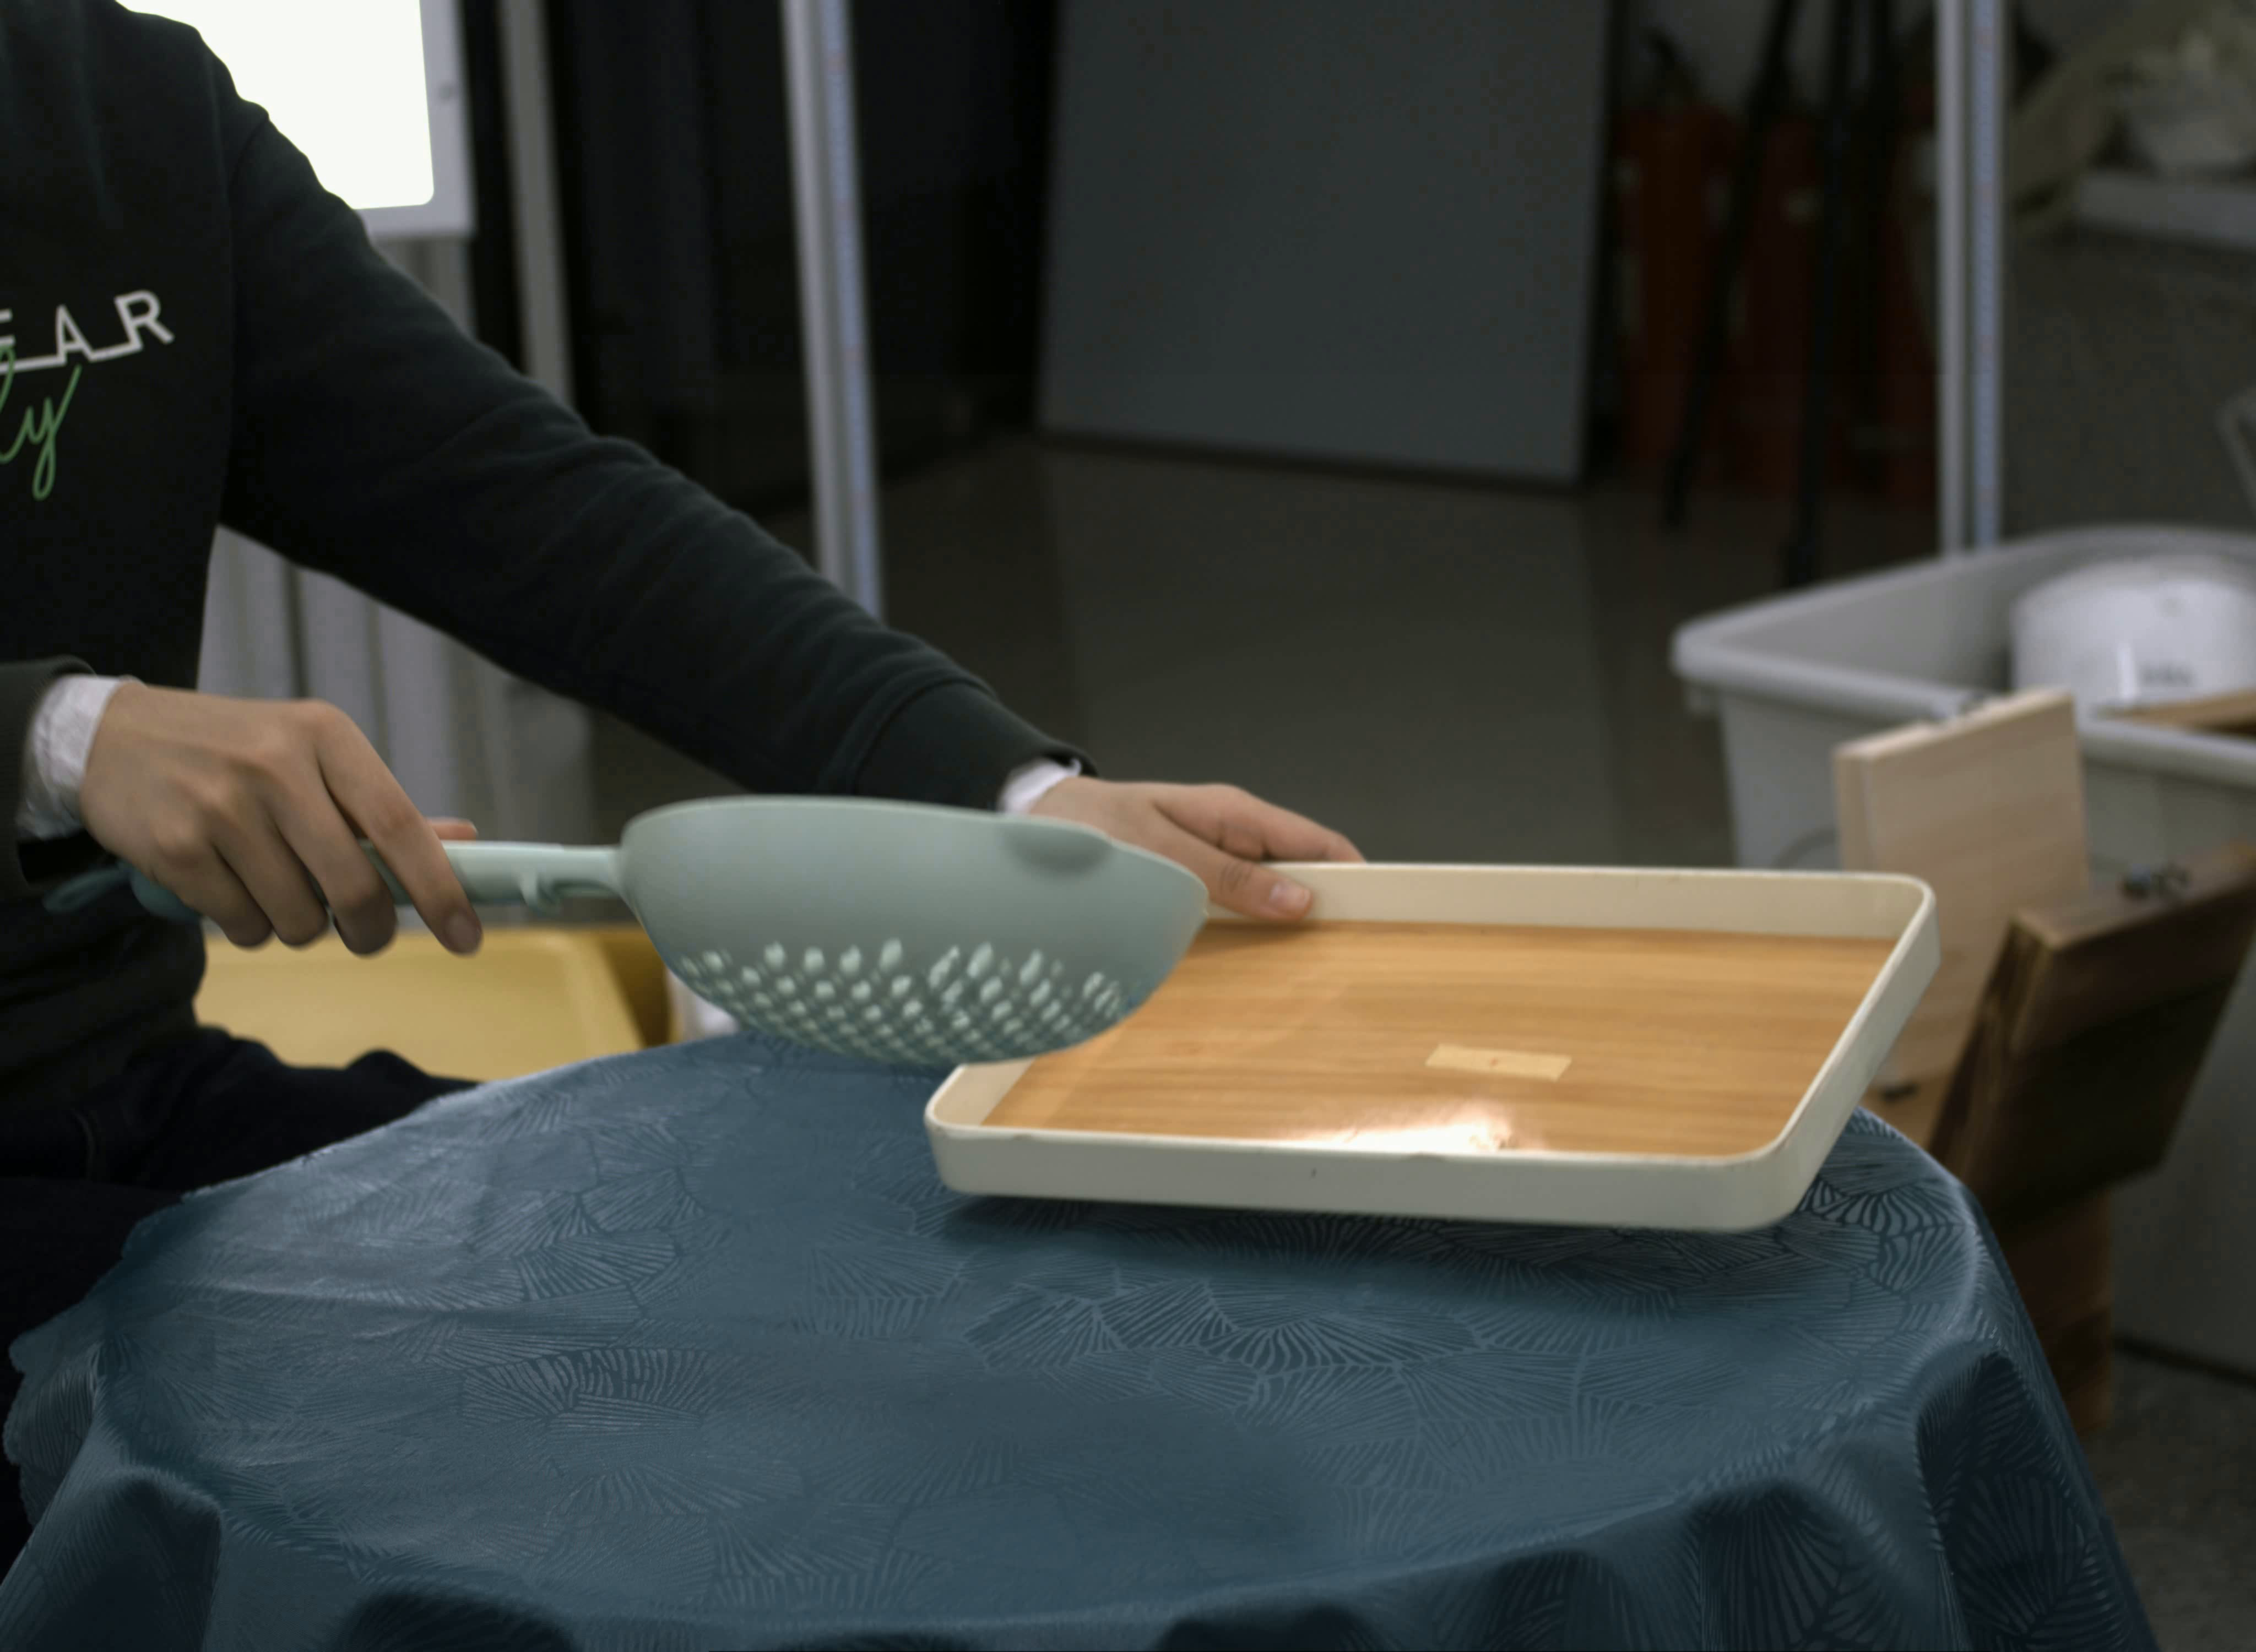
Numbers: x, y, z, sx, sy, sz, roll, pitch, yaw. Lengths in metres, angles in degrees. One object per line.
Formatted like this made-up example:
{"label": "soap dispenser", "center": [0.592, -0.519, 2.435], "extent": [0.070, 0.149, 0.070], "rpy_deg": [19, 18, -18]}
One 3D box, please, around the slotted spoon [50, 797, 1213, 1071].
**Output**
{"label": "slotted spoon", "center": [-0.152, 0.020, 1.579], "extent": [0.358, 0.076, 0.167], "rpy_deg": [10, -11, 21]}

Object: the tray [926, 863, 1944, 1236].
{"label": "tray", "center": [0.100, 0.069, 1.750], "extent": [0.301, 0.027, 0.190], "rpy_deg": [1, 28, 28]}
